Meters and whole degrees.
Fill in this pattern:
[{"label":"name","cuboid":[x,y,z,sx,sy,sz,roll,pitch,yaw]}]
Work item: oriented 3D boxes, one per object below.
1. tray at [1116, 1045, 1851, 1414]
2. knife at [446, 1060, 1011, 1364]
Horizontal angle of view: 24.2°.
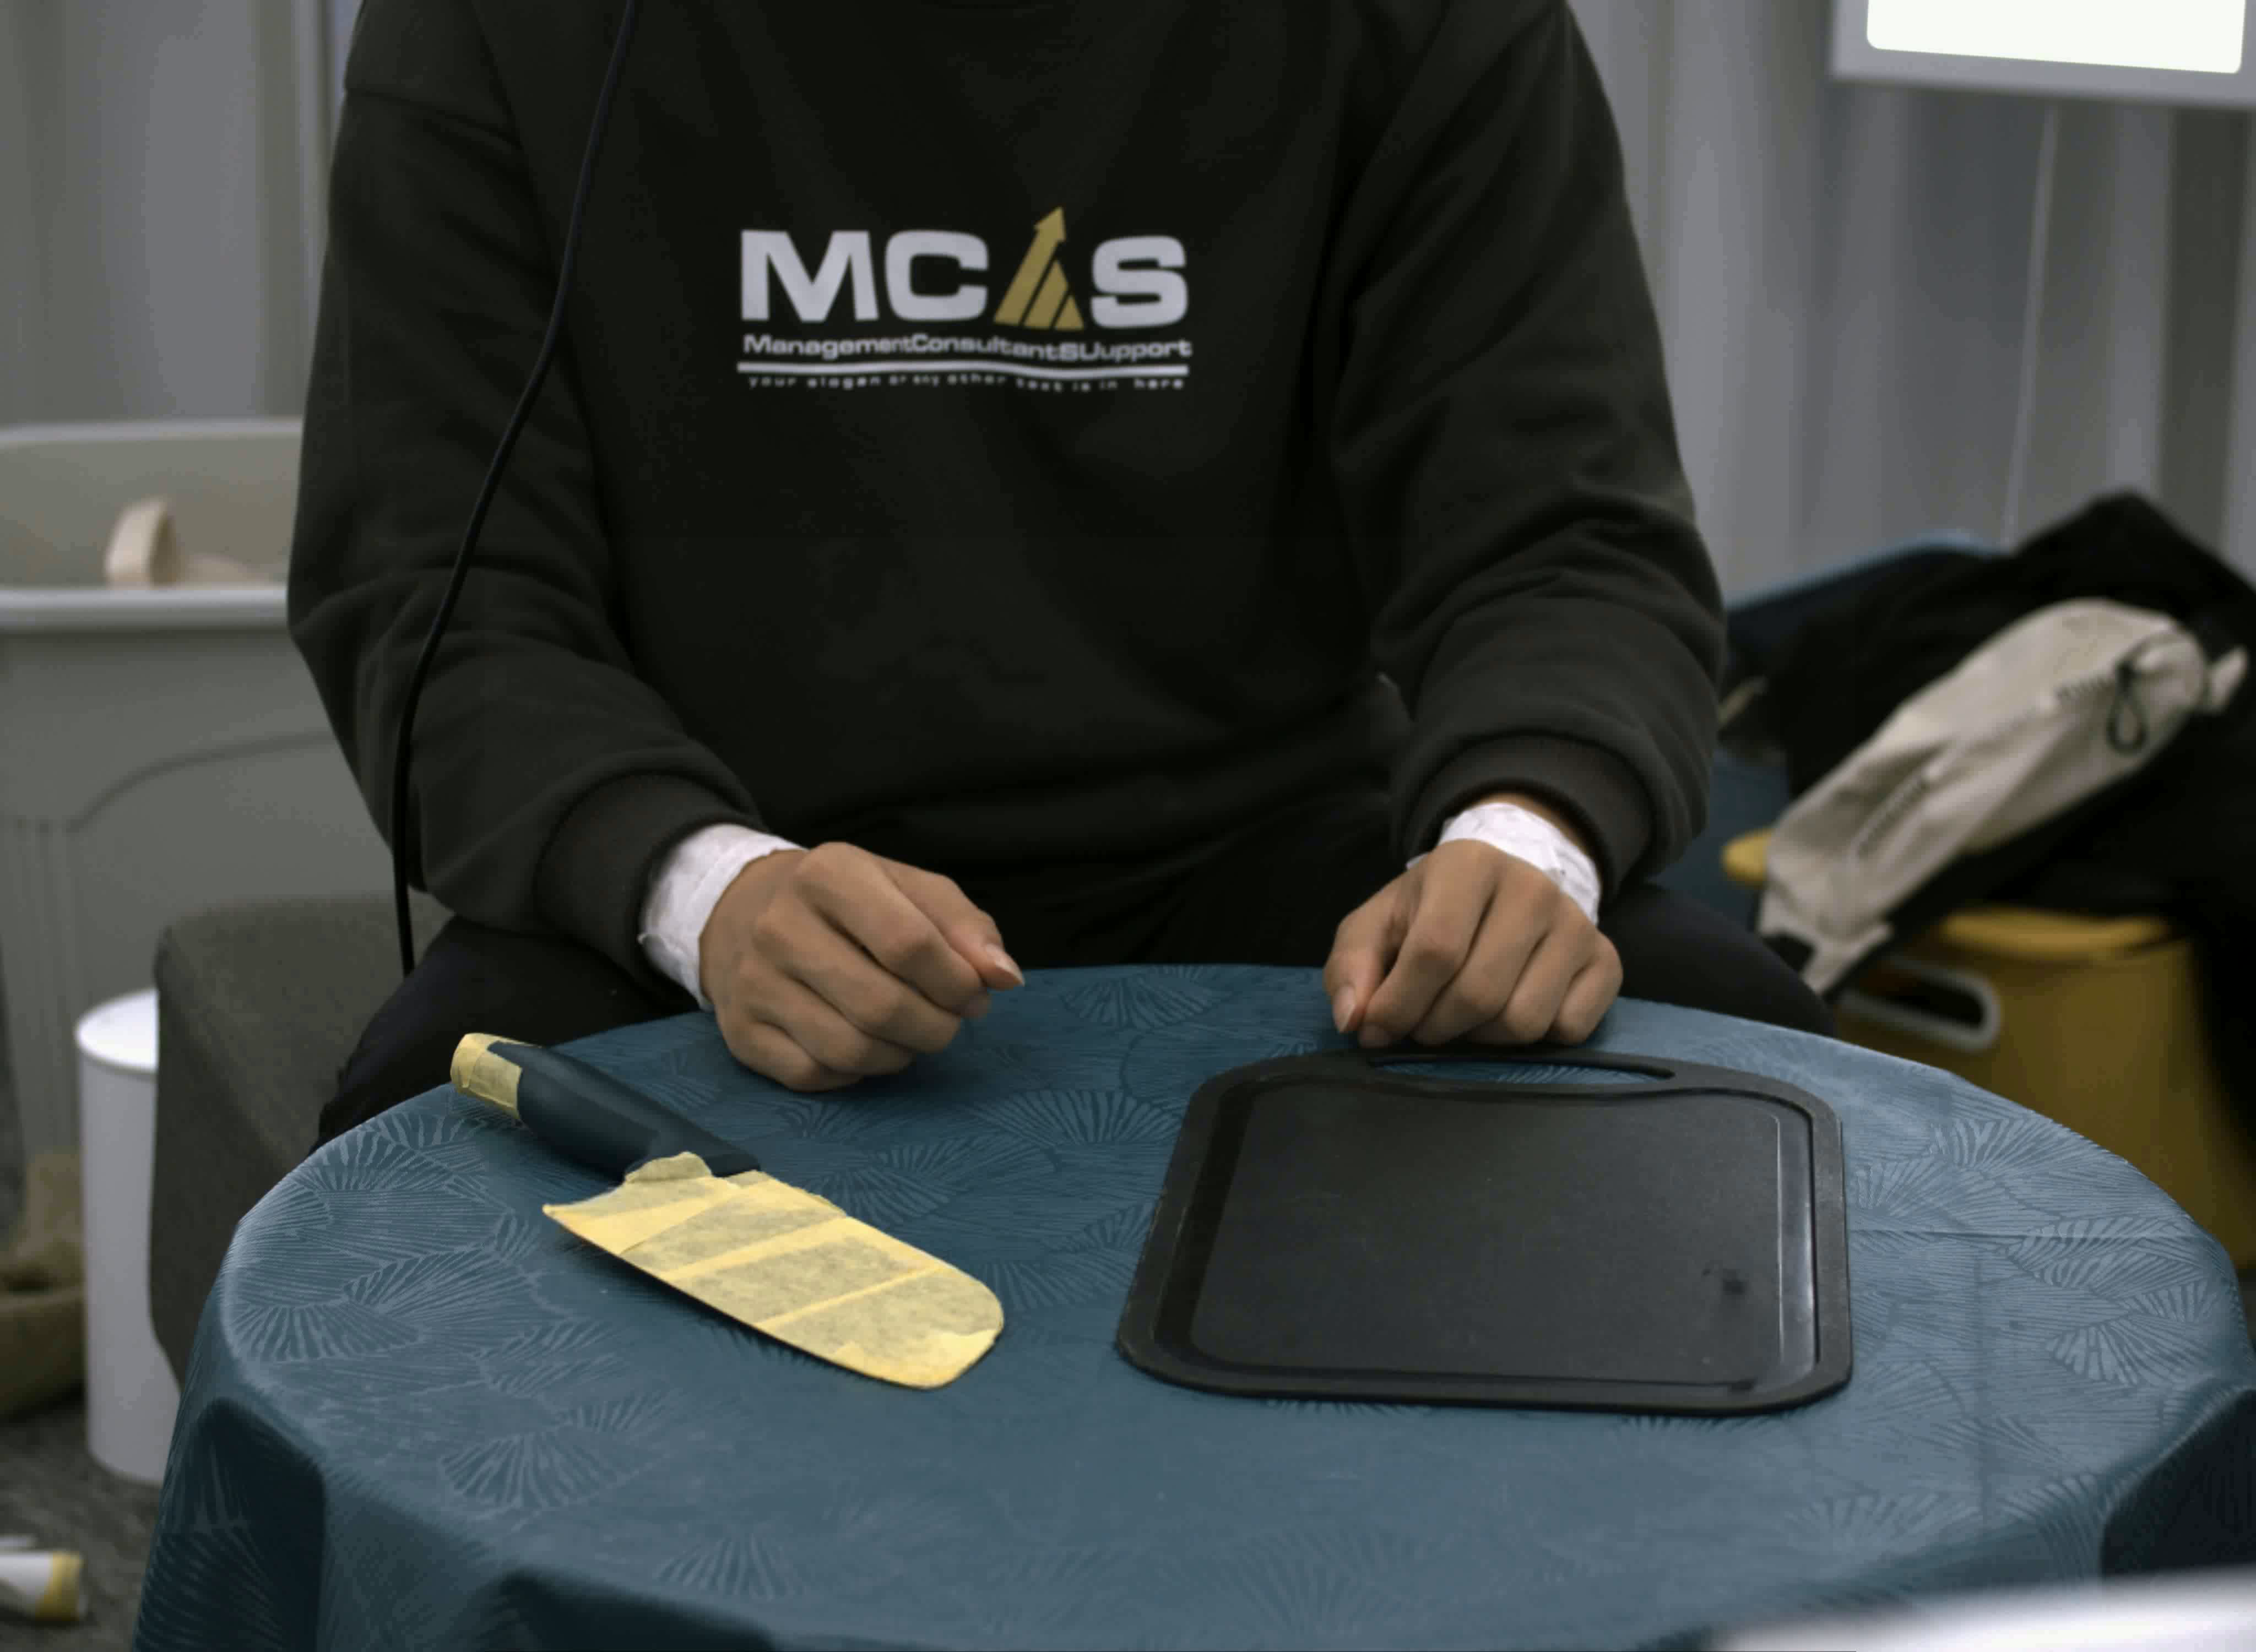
[{"label":"tray","cuboid":[0.114,0.115,1.605,0.210,0.010,0.324,2,15,6]},{"label":"knife","cuboid":[-0.132,0.117,1.578,0.081,0.027,0.285,-9,19,-37]}]
